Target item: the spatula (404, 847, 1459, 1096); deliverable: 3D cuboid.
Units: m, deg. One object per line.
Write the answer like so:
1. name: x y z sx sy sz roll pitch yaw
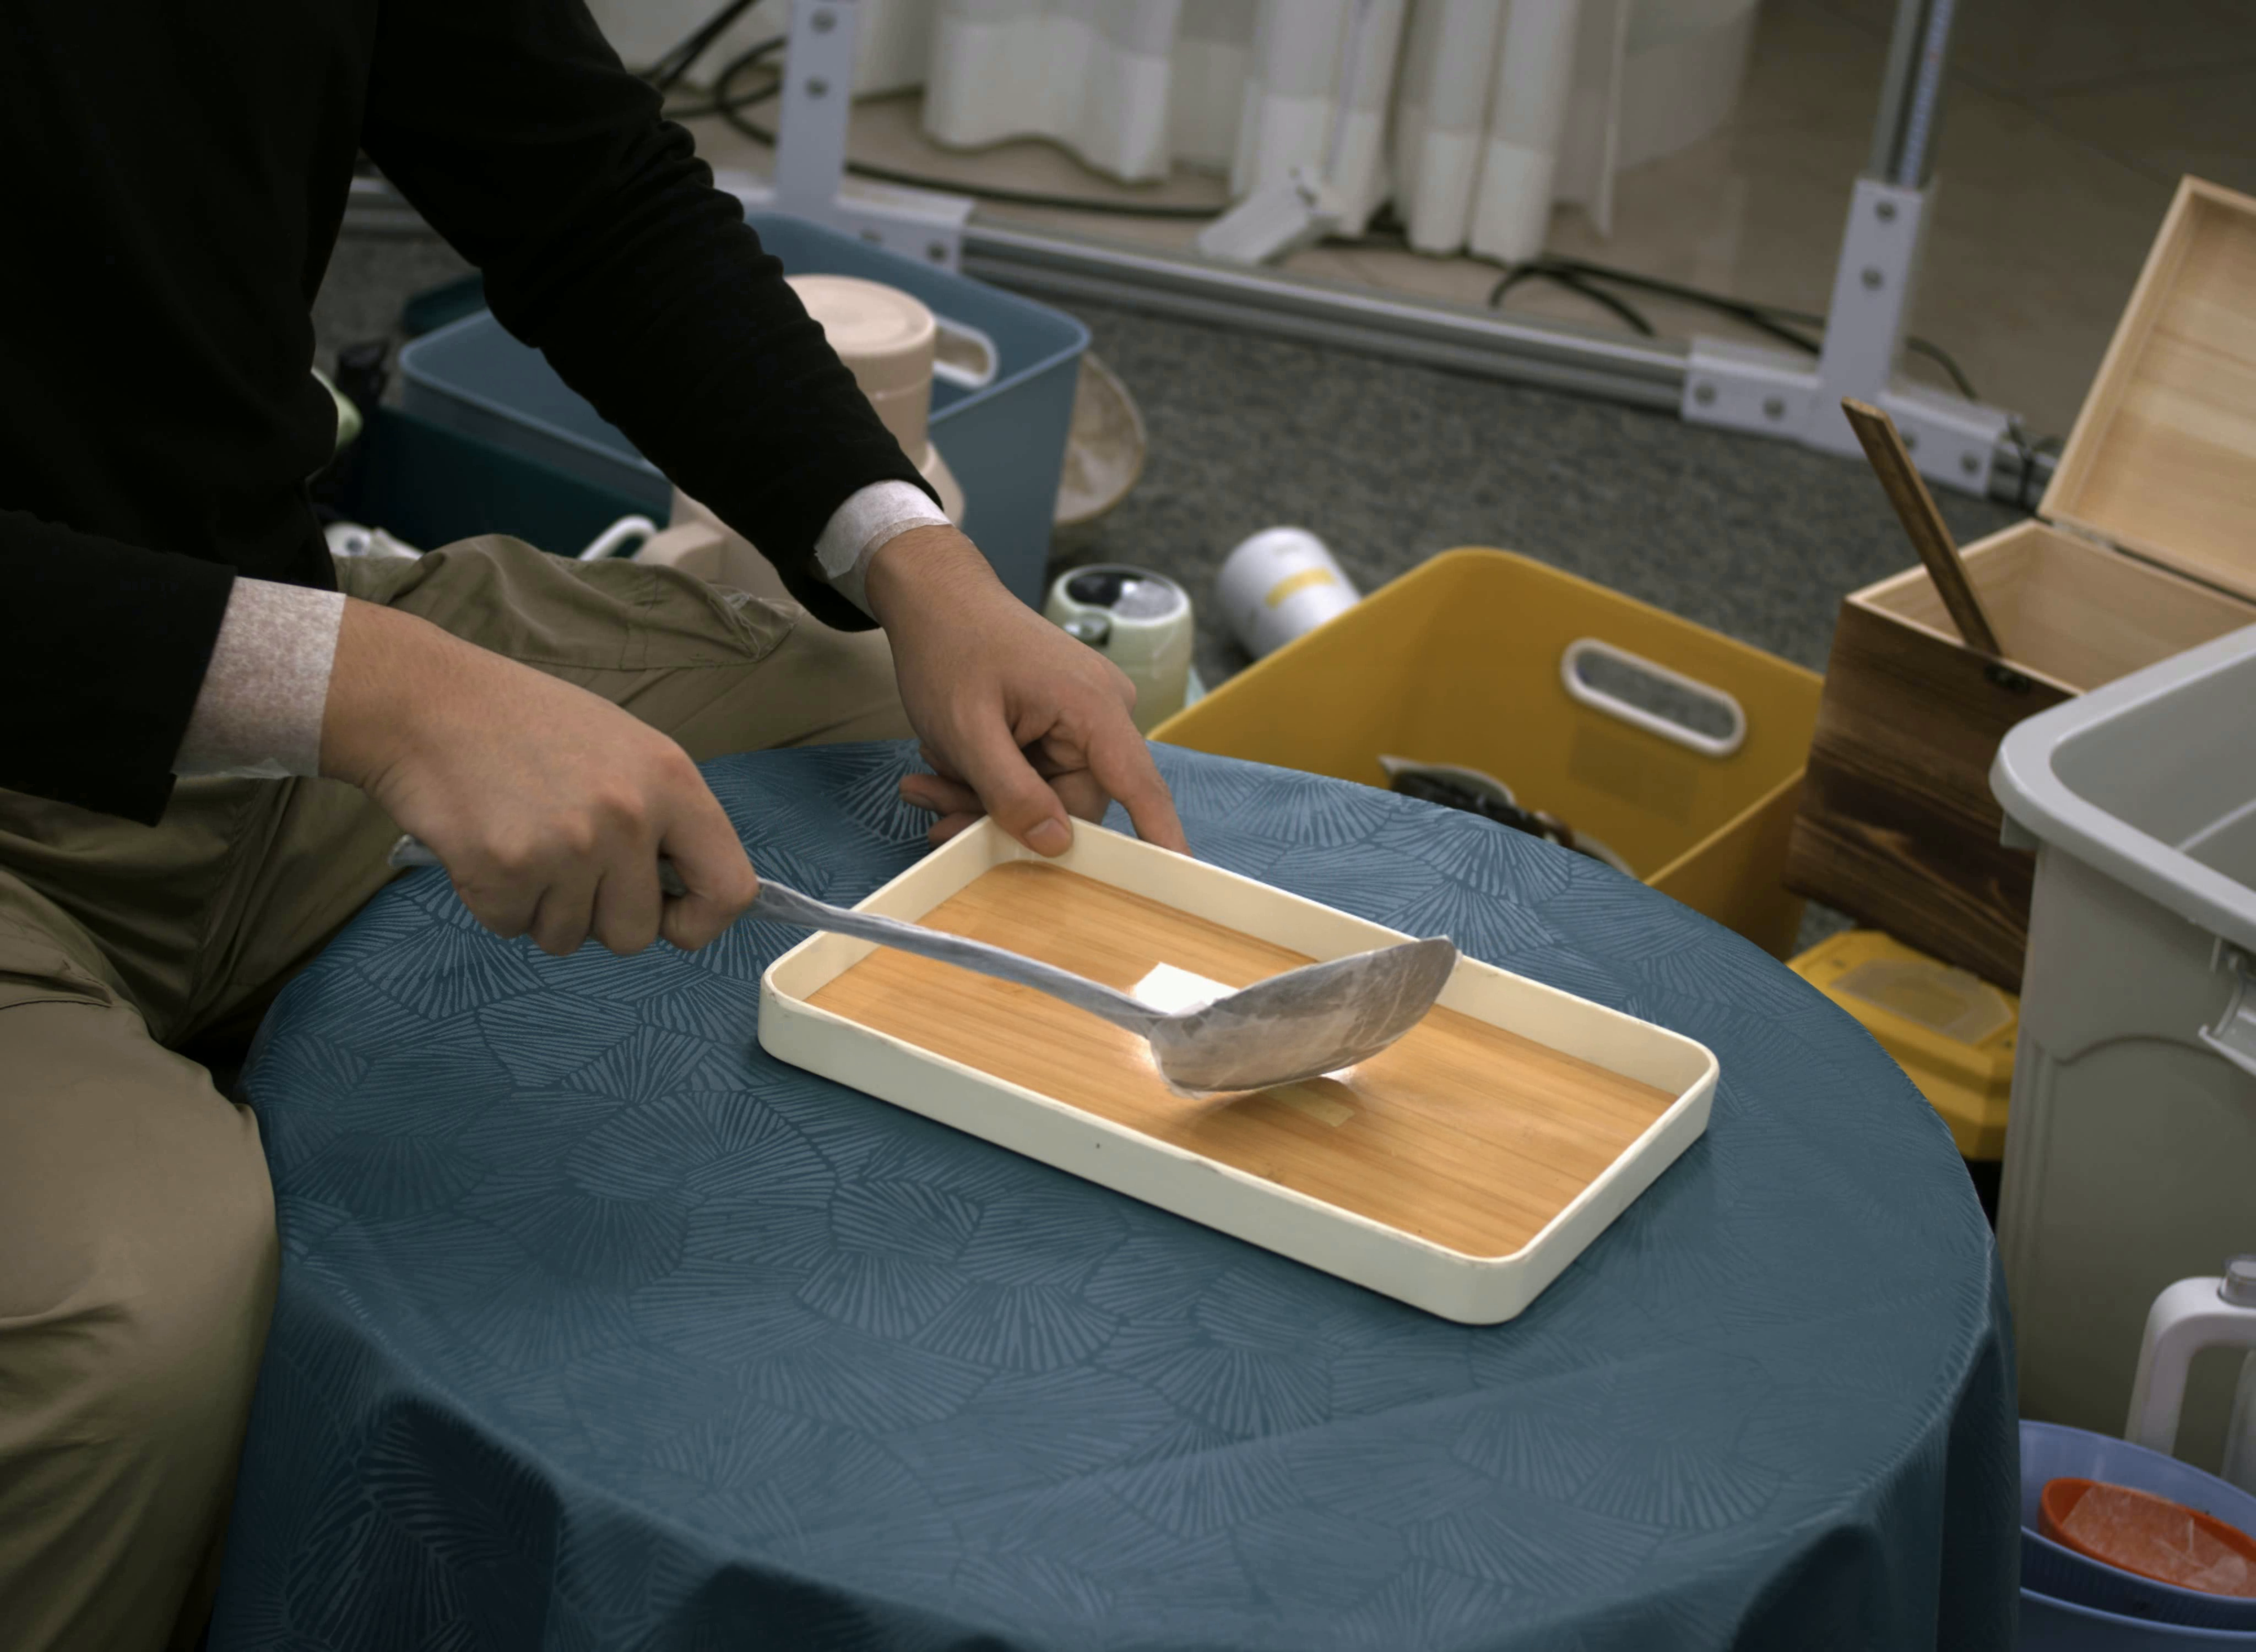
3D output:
1. spatula: -0.063 0.038 1.783 0.362 0.098 0.045 14 54 -17

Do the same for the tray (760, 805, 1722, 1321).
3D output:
1. tray: 0.040 0.079 1.869 0.301 0.027 0.191 20 30 24
